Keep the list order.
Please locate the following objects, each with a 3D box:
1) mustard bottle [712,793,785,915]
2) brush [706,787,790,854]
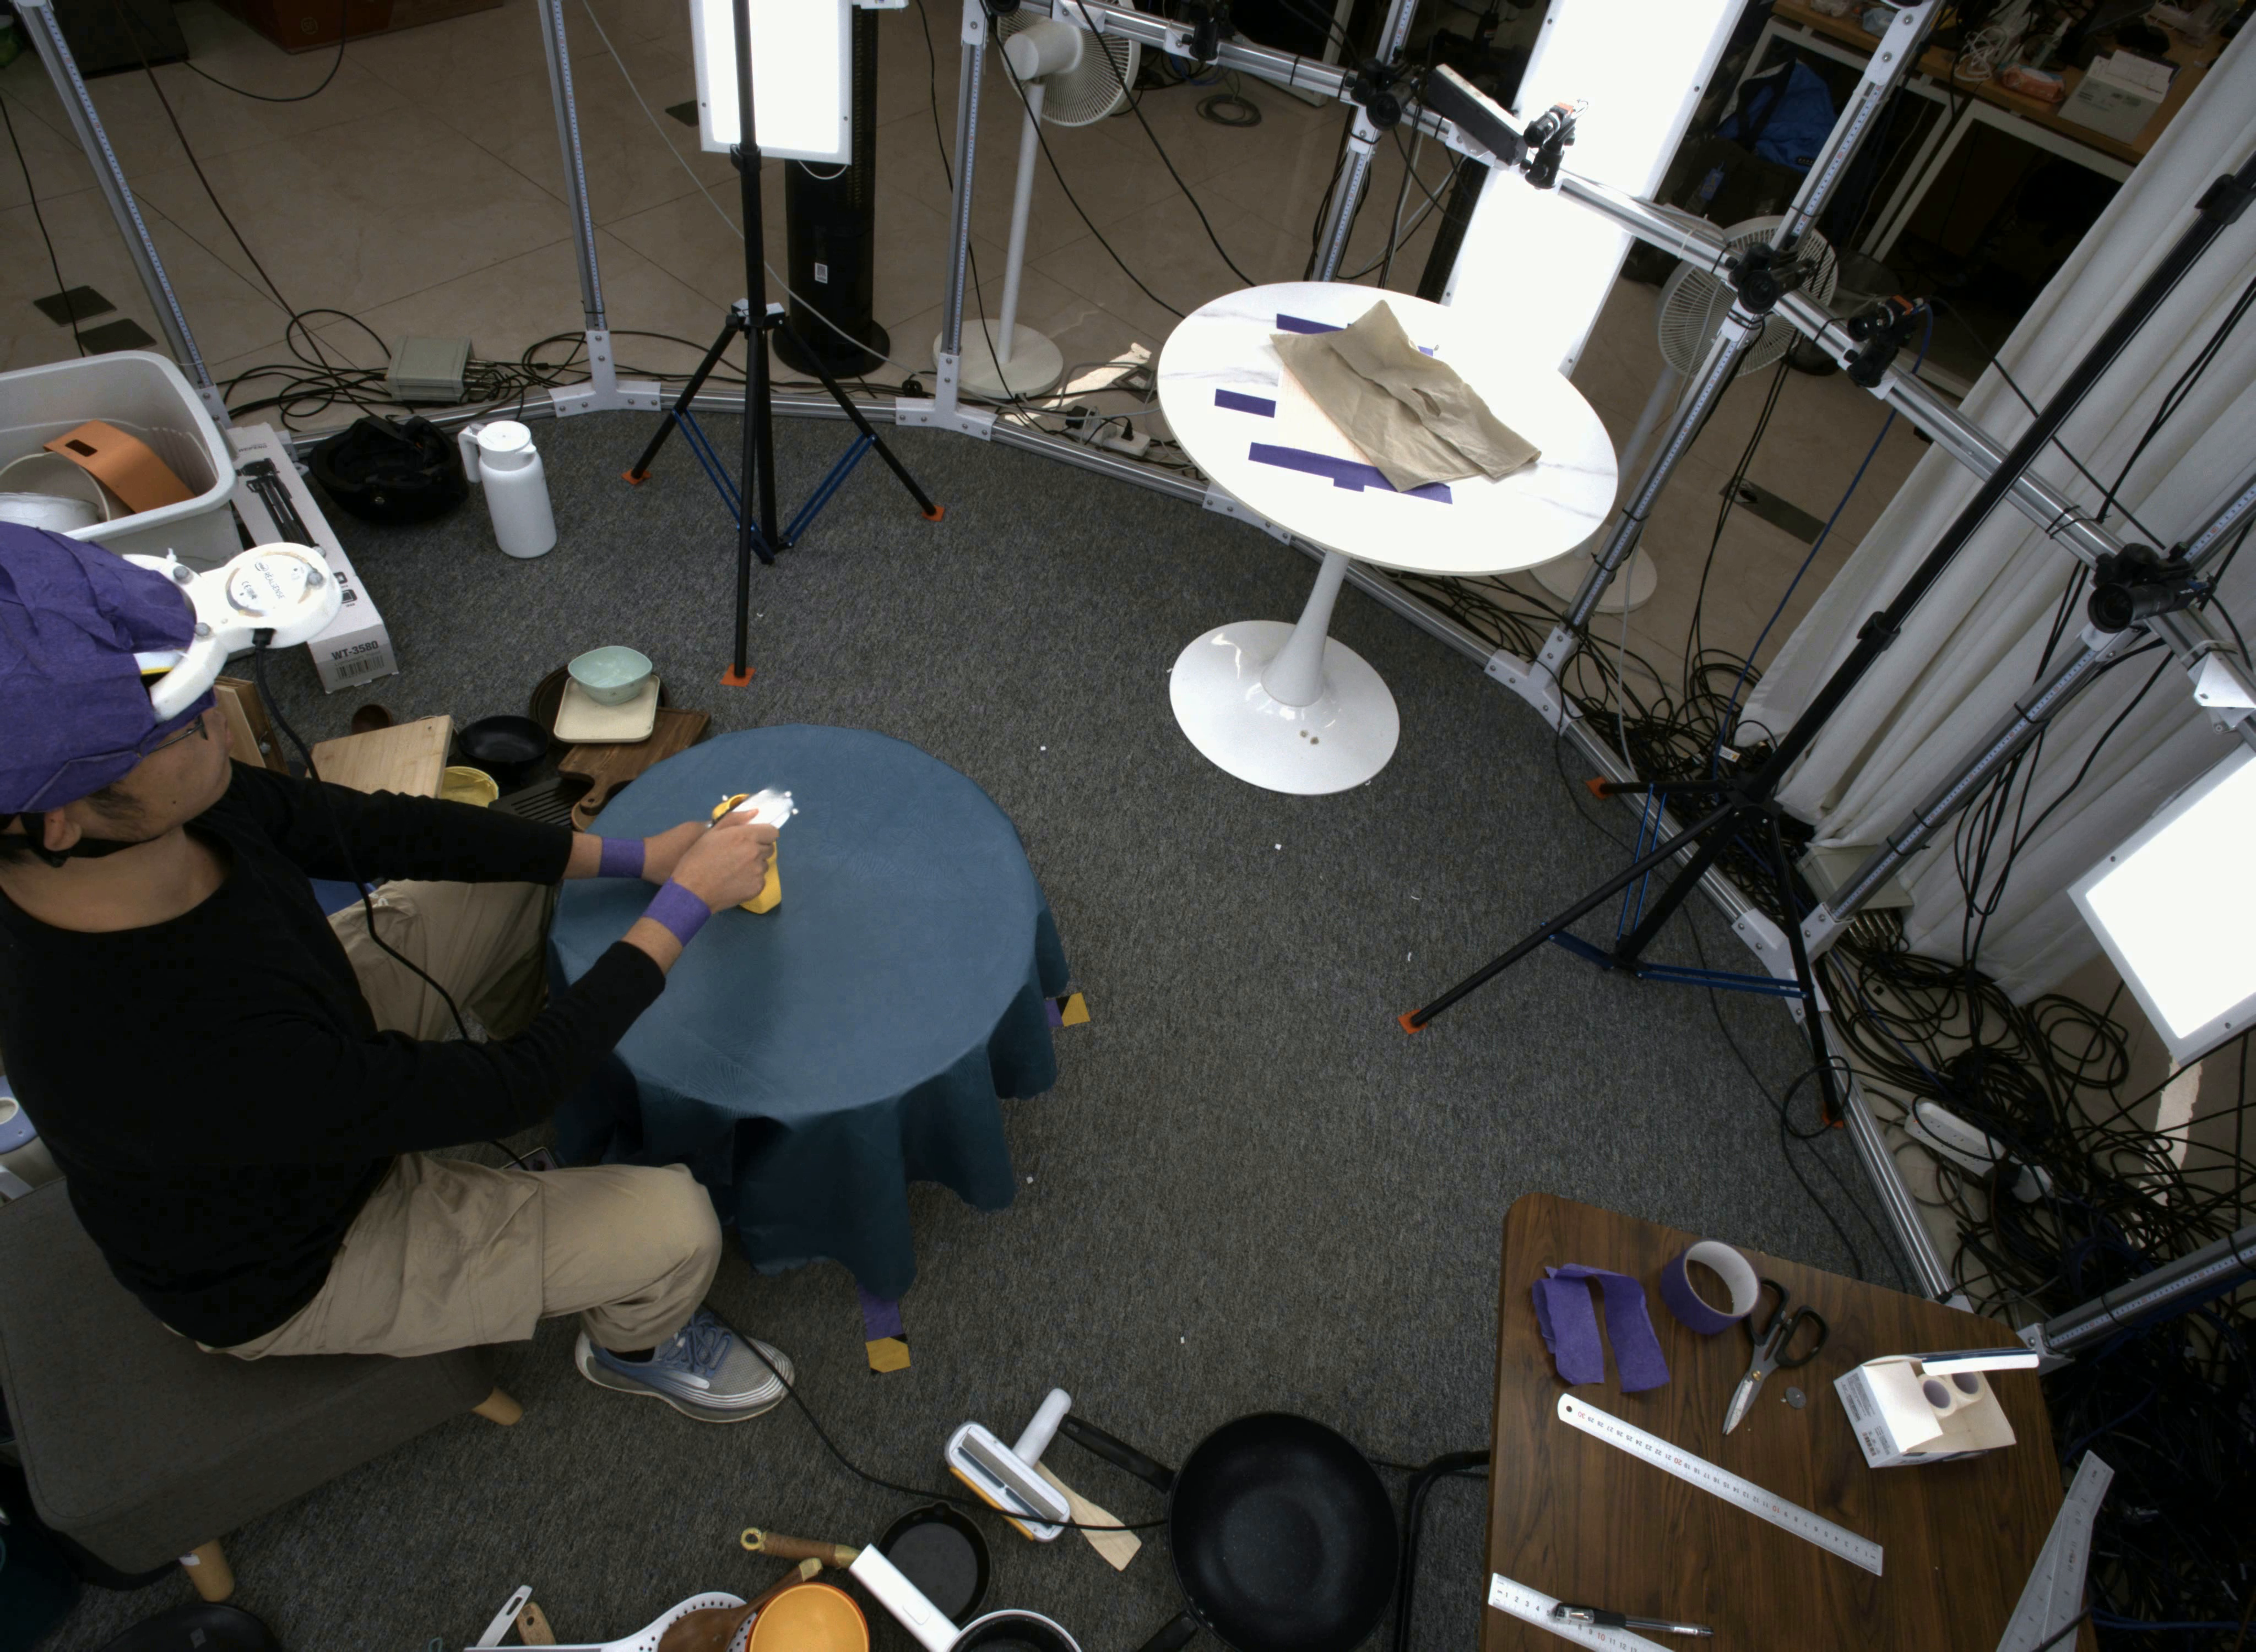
[{"bbox_3d":[-0.469,0.026,1.588,0.096,0.175,0.059,38,57,16],"label":"mustard bottle"},{"bbox_3d":[-0.433,-0.008,1.485,0.099,0.070,0.051,-40,107,-26],"label":"brush"}]
